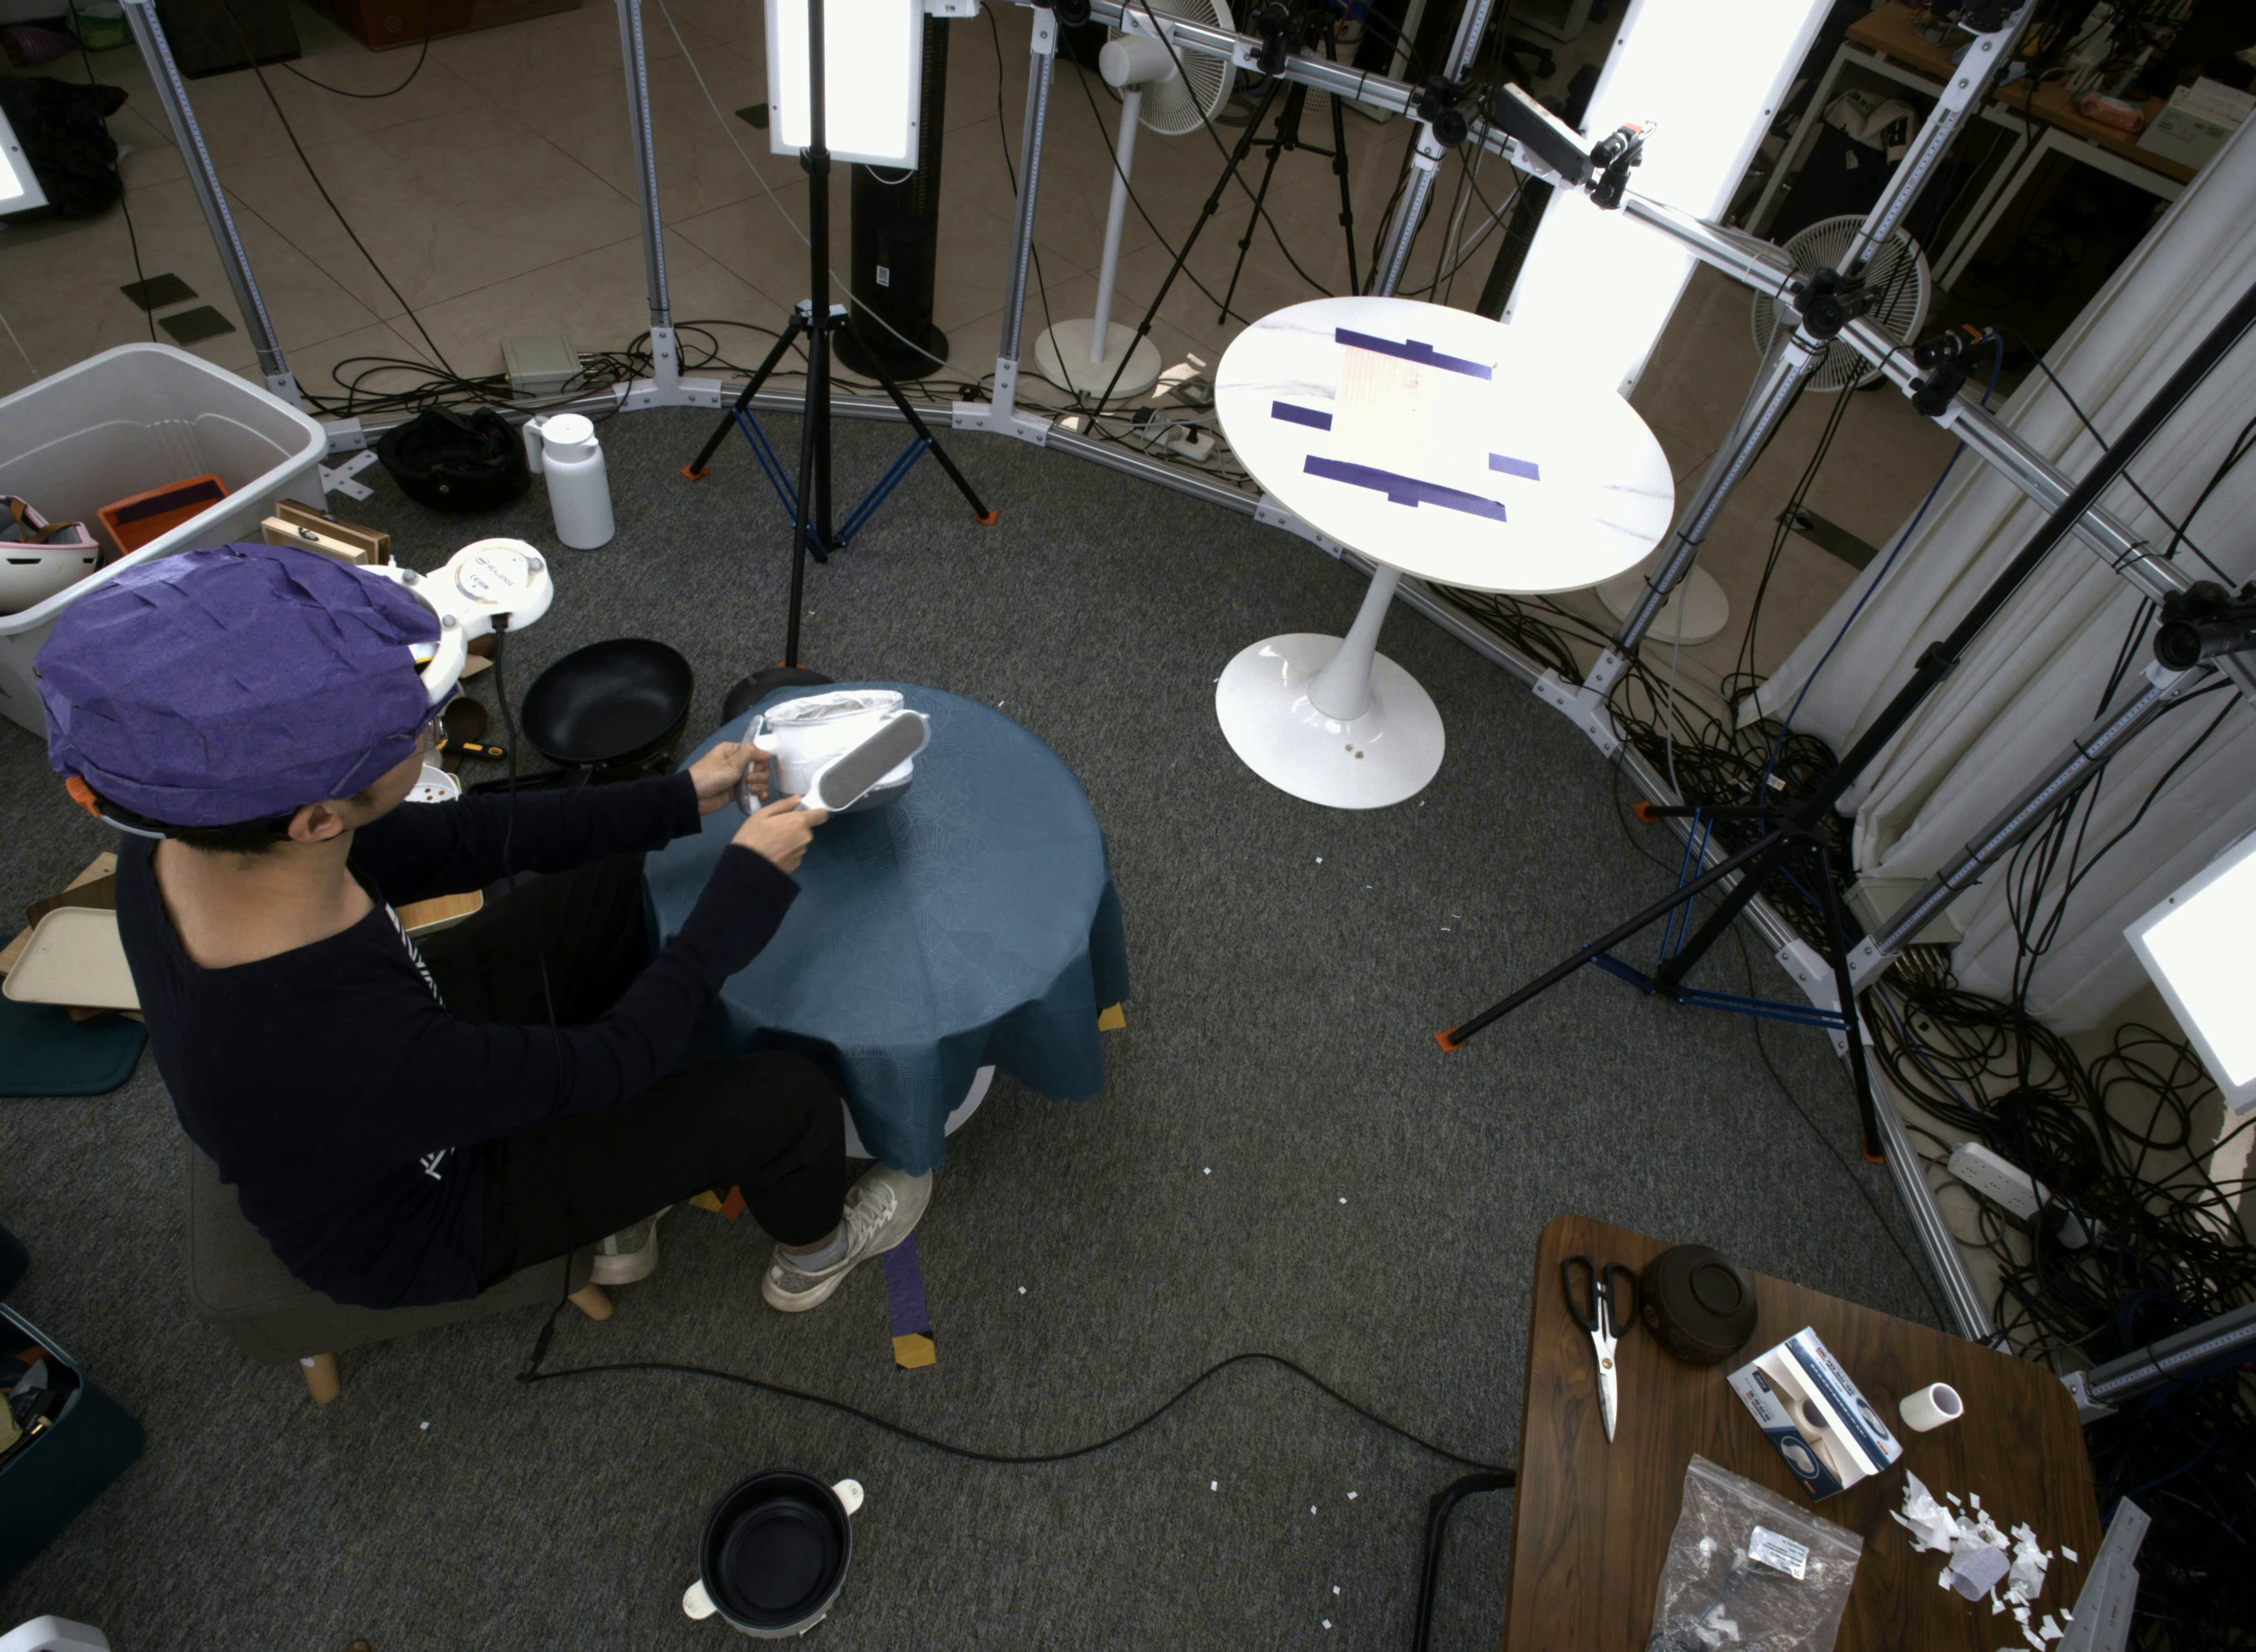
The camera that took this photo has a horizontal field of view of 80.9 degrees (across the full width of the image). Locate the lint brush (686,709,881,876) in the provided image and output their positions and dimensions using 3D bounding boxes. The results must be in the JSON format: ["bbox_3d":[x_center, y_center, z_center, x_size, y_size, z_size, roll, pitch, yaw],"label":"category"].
[{"bbox_3d":[-0.411,-0.044,1.558,0.020,0.062,0.309,8,43,43],"label":"lint brush"}]

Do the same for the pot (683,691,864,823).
[{"bbox_3d":[-0.457,-0.085,1.649,0.236,0.140,0.172,-18,18,-33],"label":"pot"}]
